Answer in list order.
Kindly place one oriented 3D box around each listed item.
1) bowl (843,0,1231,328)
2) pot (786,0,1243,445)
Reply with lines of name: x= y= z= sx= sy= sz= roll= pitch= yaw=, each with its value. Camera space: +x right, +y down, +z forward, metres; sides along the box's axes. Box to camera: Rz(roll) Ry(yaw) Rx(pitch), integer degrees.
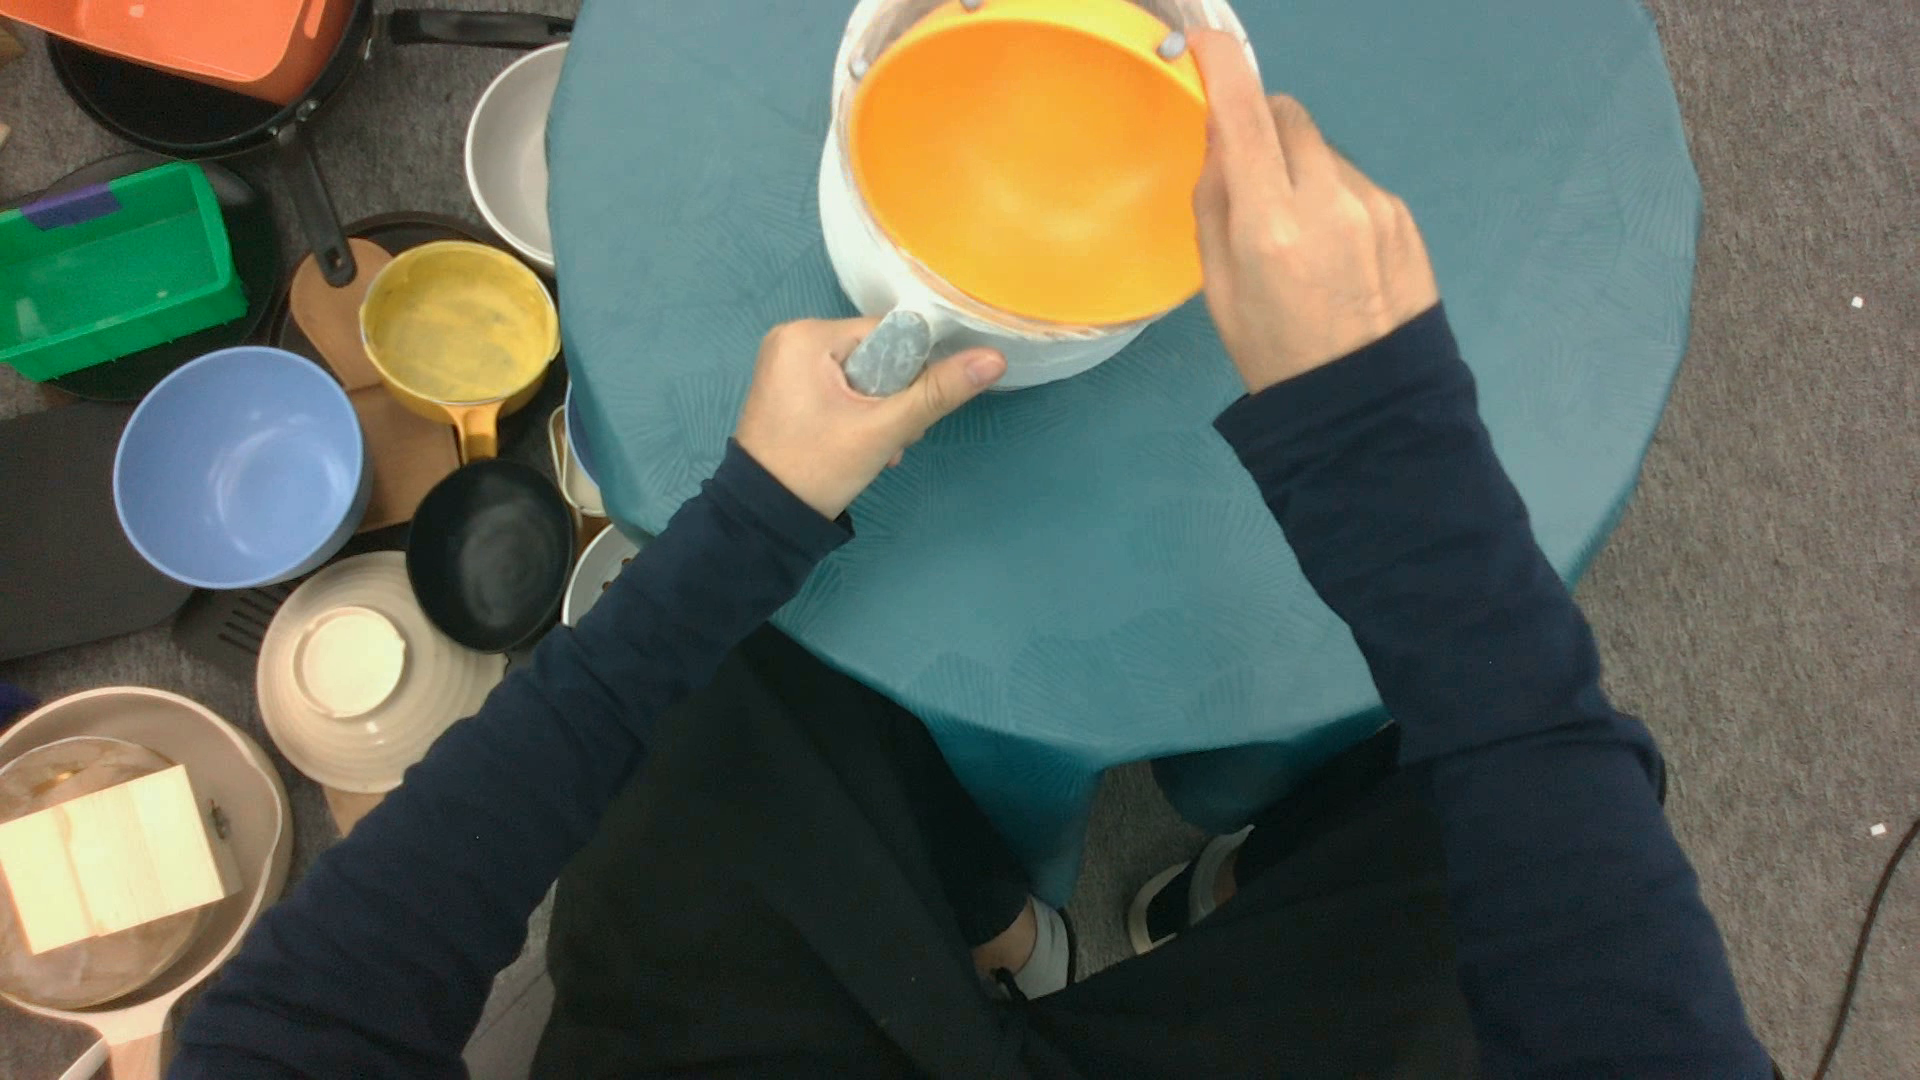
bowl: x=0.034 y=-0.149 z=0.508 sx=0.145 sy=0.144 sz=0.060 roll=20 pitch=58 yaw=0
pot: x=0.004 y=-0.145 z=0.611 sx=0.178 sy=0.136 sz=0.234 roll=34 pitch=83 yaw=-7
